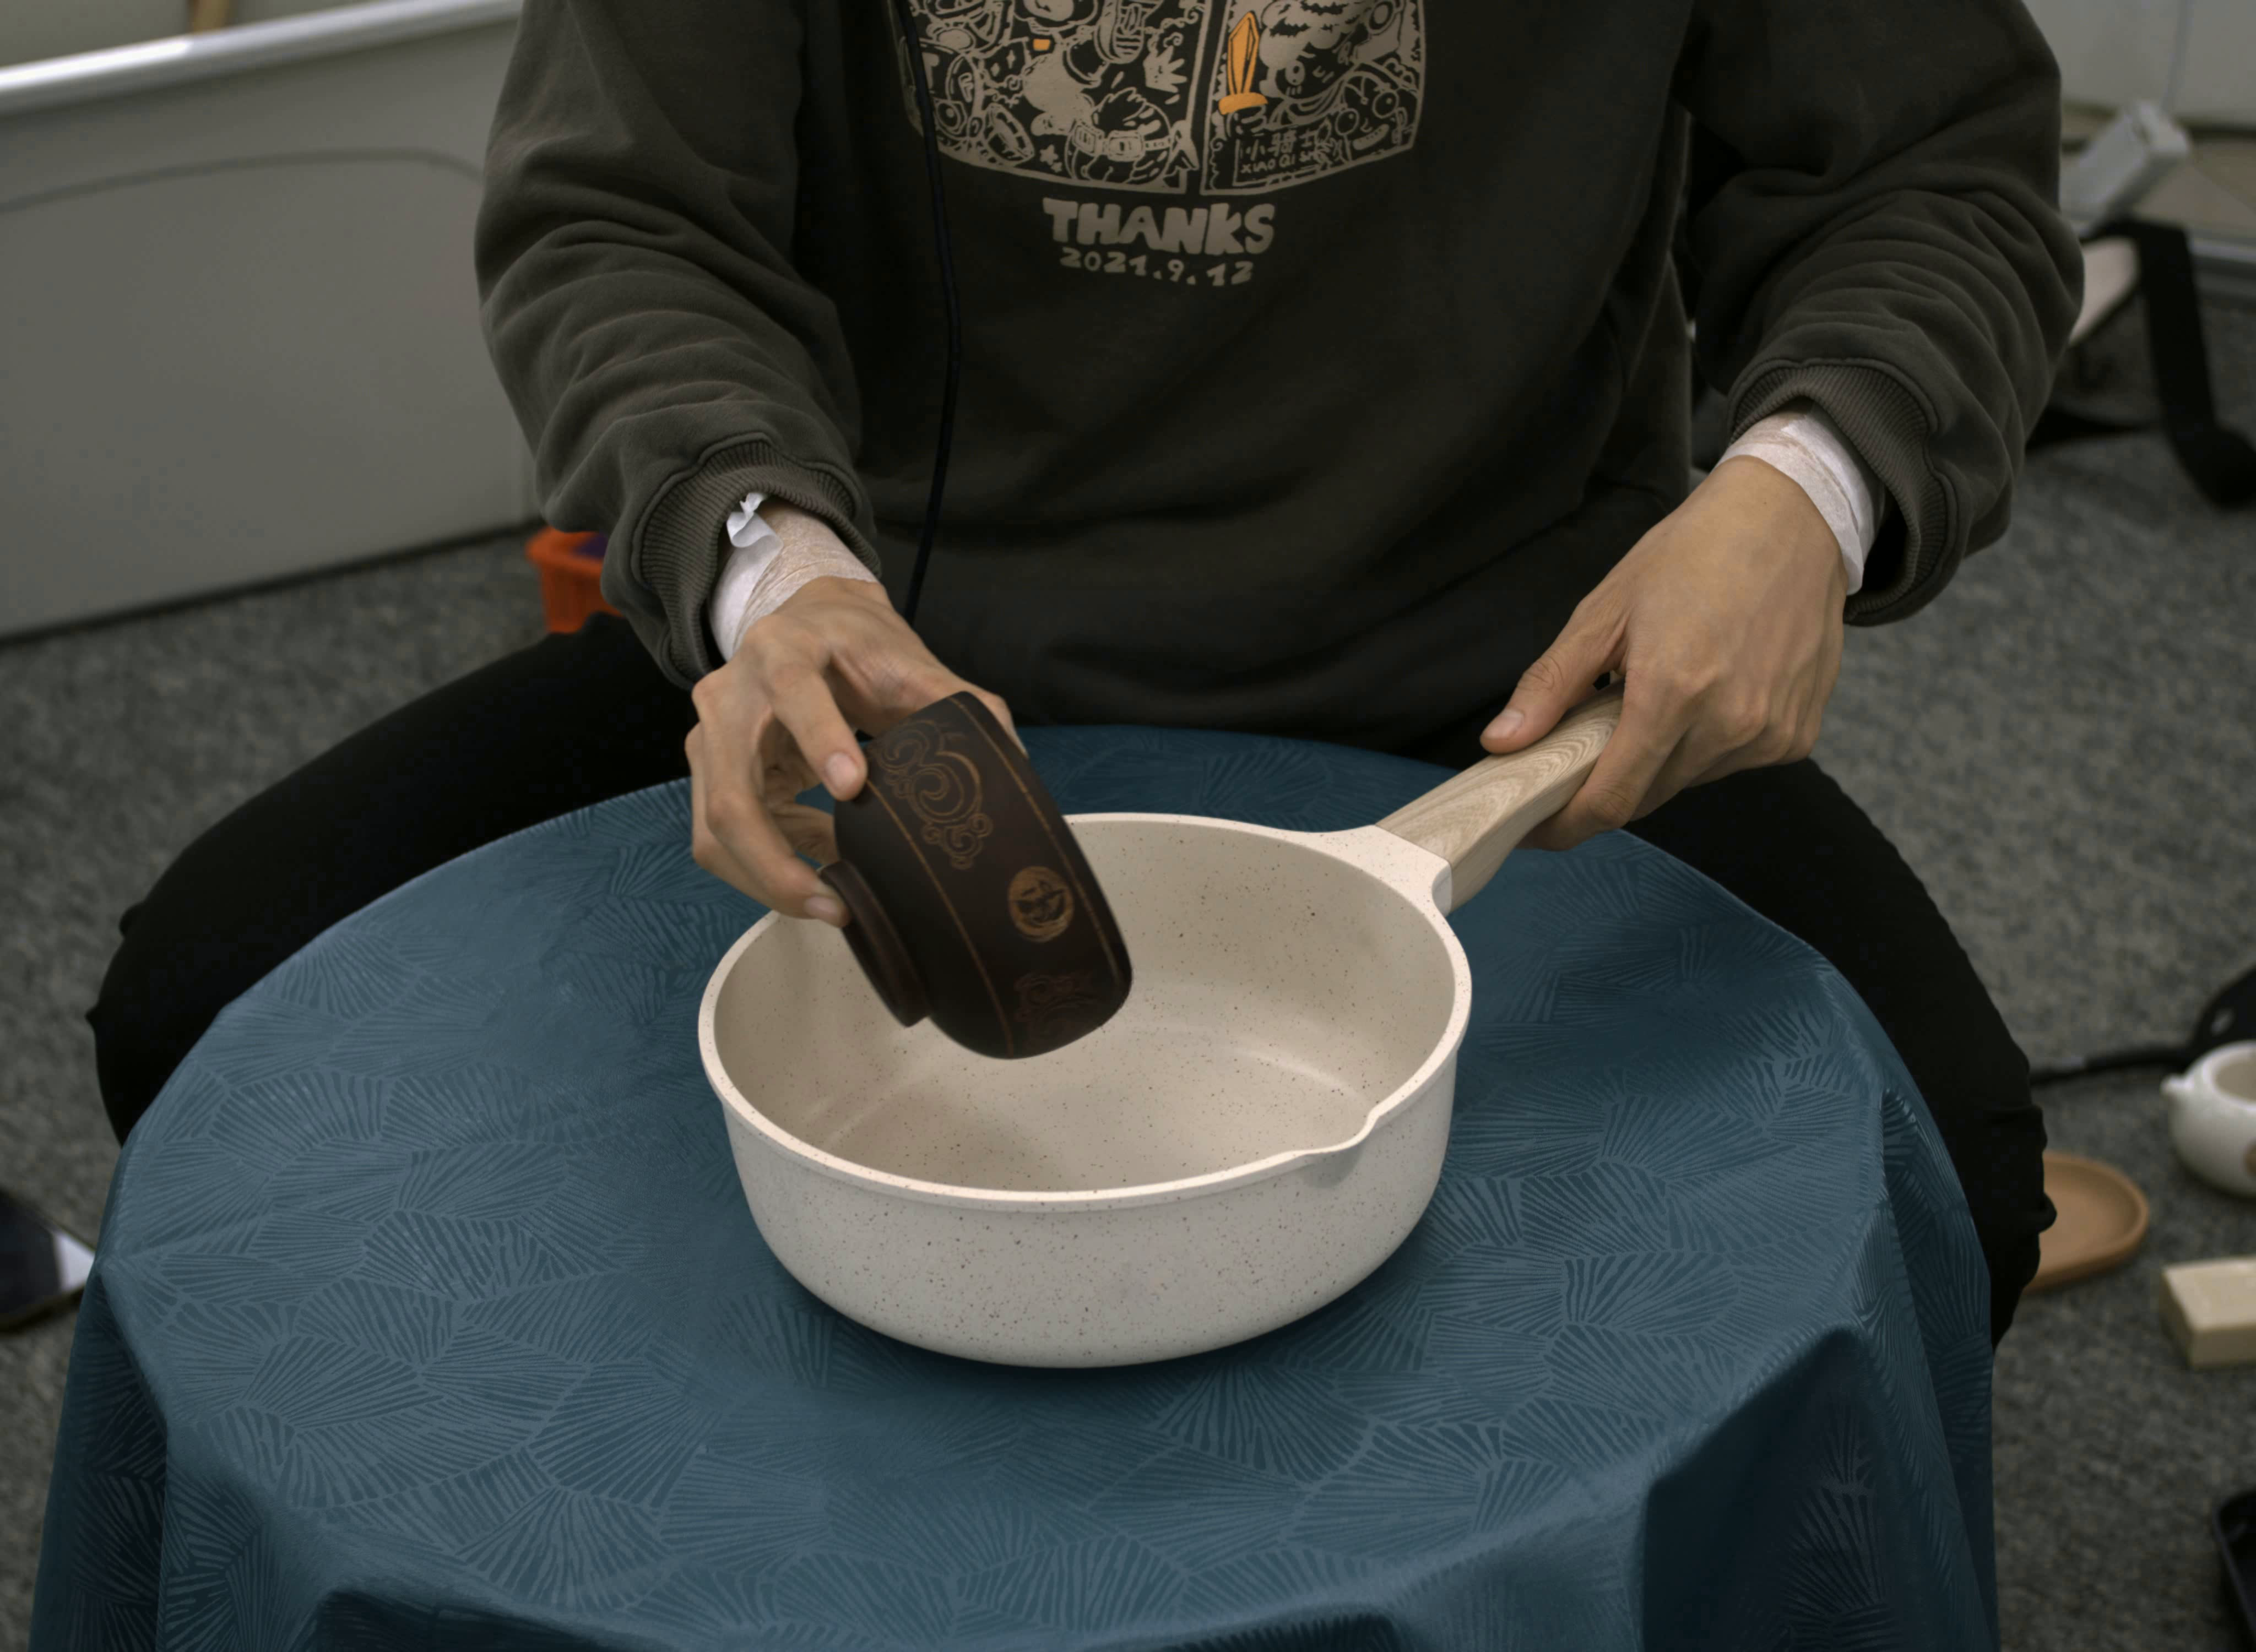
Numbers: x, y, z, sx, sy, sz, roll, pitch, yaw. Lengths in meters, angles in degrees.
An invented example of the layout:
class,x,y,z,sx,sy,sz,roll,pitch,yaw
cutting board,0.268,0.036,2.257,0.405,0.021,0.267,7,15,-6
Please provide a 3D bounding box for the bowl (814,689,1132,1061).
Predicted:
class,x,y,z,sx,sy,sz,roll,pitch,yaw
bowl,-0.056,0.023,1.786,0.070,0.117,0.119,-29,33,-12

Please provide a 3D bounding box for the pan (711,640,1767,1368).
class,x,y,z,sx,sy,sz,roll,pitch,yaw
pan,0.061,0.054,1.880,0.439,0.101,0.263,-24,32,-35
